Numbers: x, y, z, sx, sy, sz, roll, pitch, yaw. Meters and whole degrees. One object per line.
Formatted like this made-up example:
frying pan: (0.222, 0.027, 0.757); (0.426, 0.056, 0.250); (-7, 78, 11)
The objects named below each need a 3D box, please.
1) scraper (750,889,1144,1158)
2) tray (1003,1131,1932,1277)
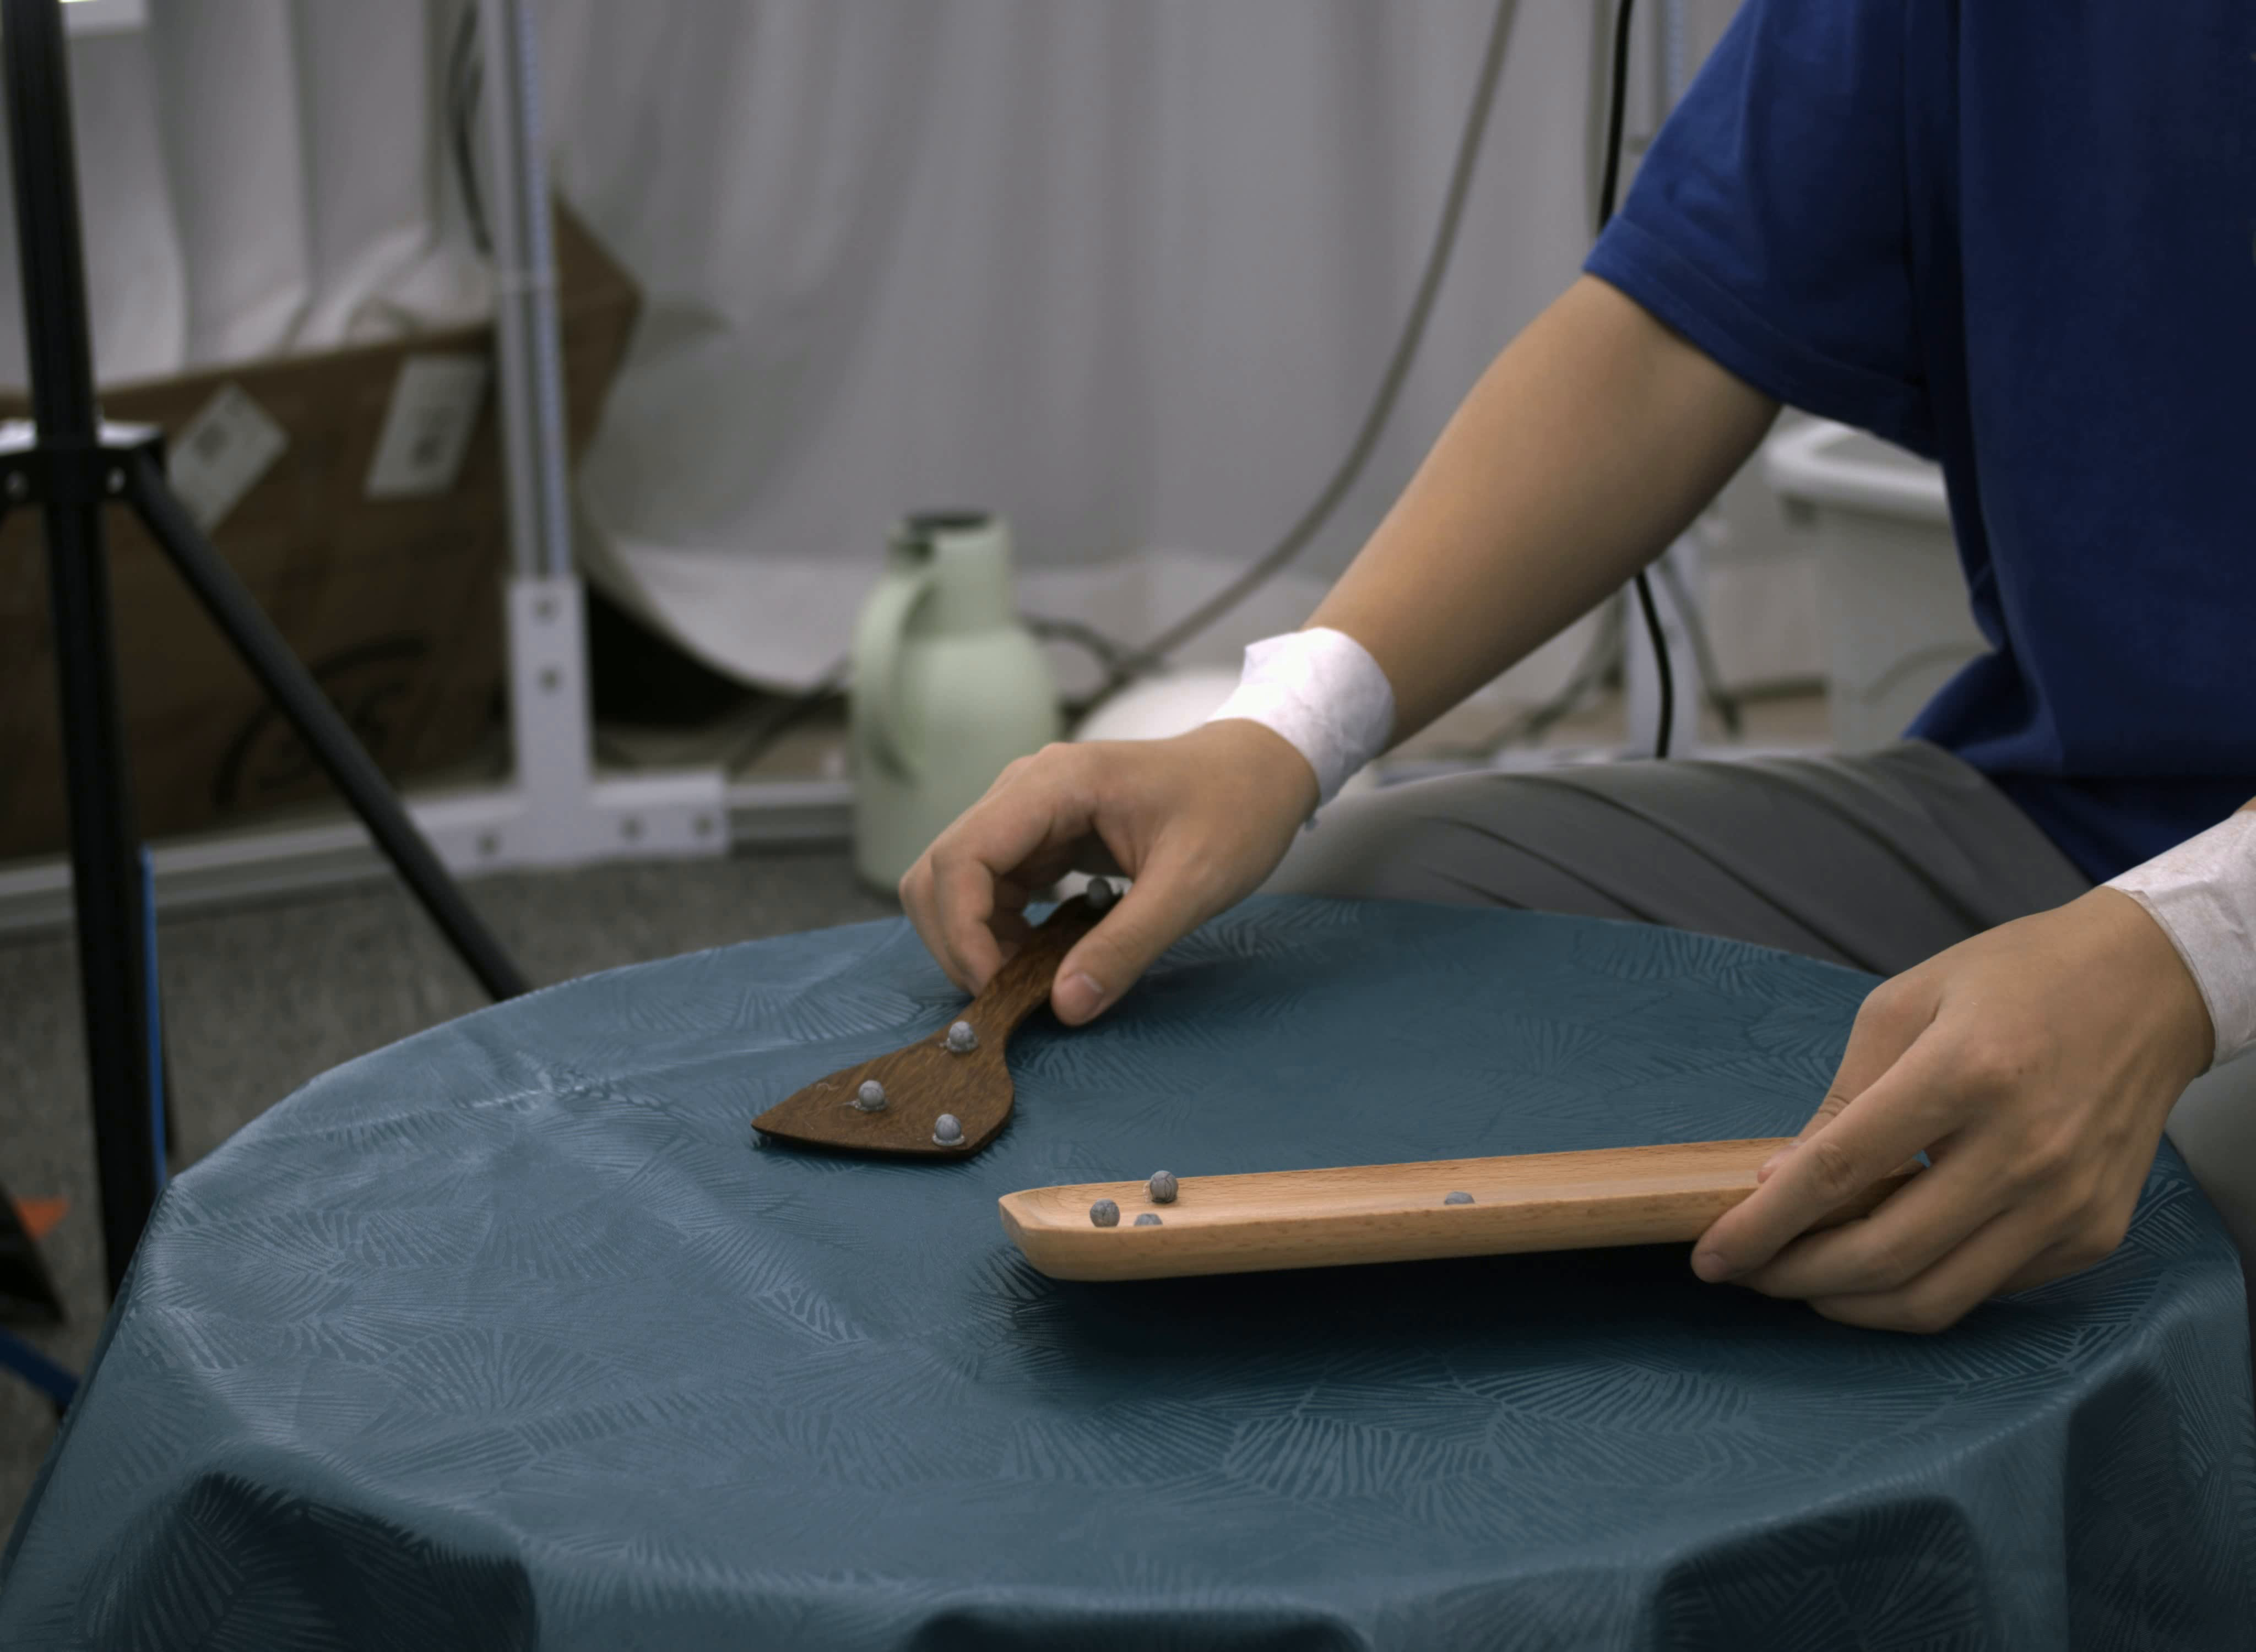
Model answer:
scraper: (-0.044, 0.061, 1.686); (0.077, 0.011, 0.209); (6, 24, 23)
tray: (0.092, 0.105, 1.470); (0.249, 0.023, 0.131); (-3, 4, -3)
